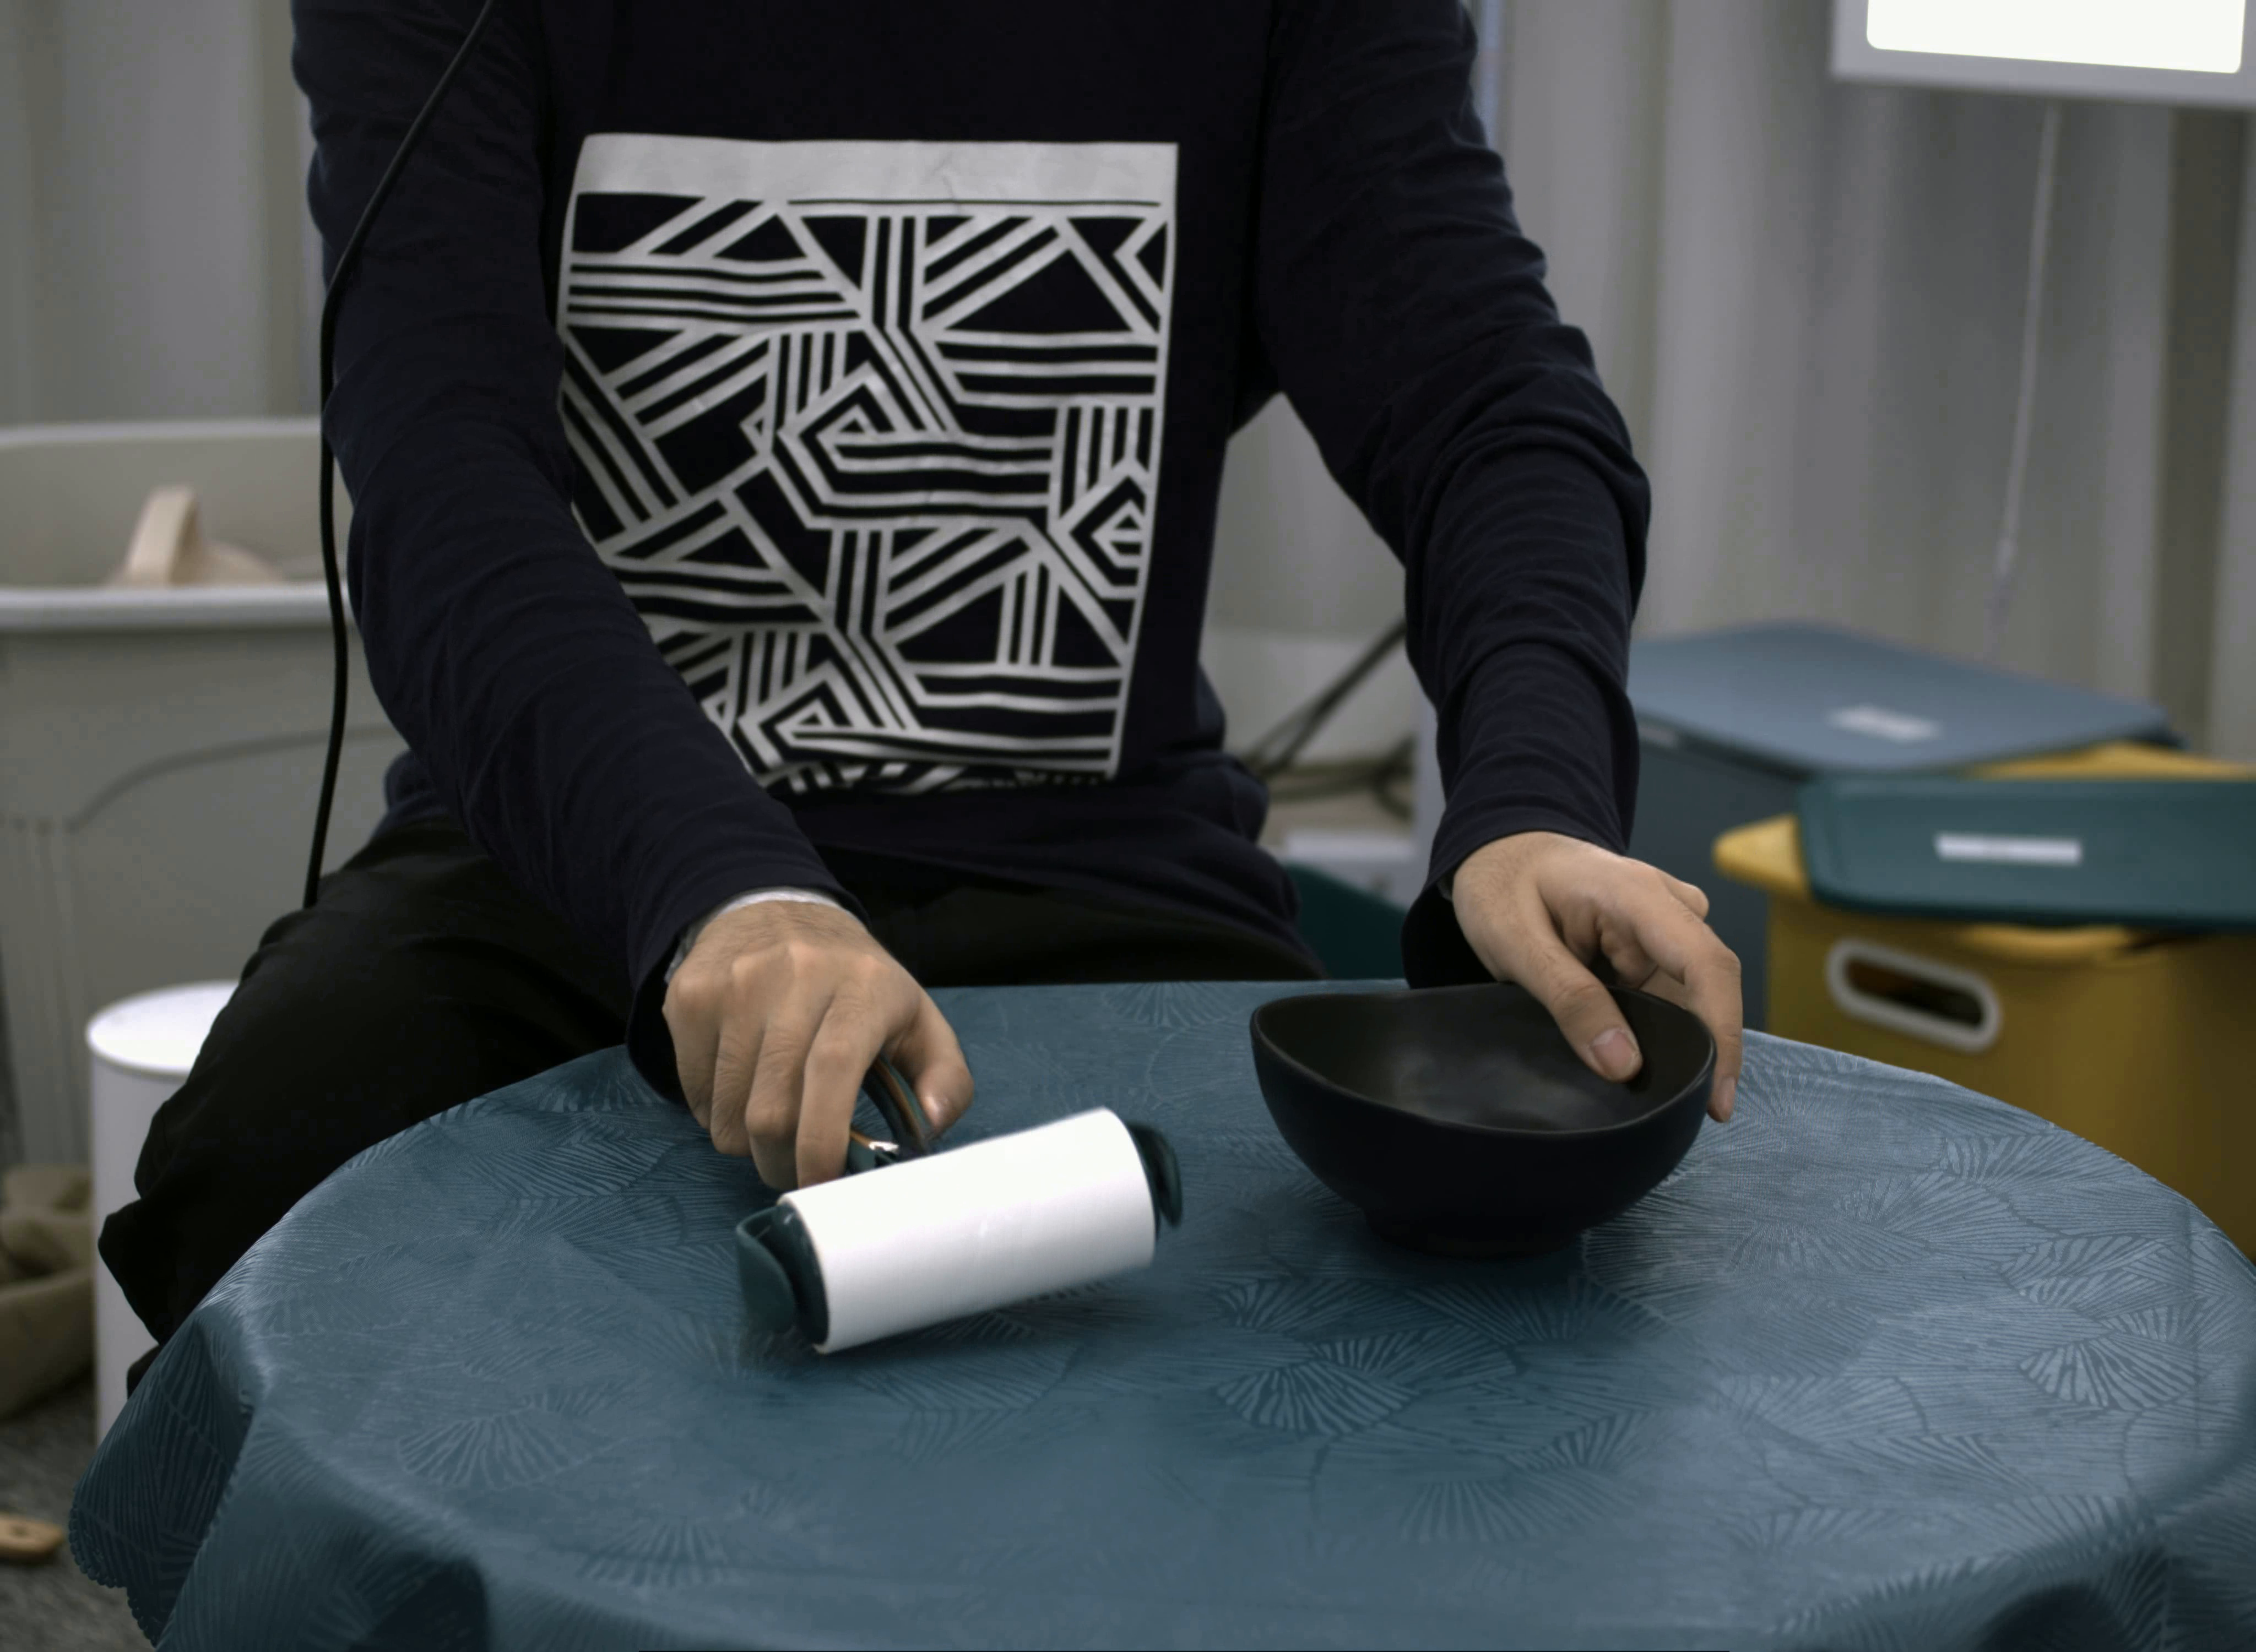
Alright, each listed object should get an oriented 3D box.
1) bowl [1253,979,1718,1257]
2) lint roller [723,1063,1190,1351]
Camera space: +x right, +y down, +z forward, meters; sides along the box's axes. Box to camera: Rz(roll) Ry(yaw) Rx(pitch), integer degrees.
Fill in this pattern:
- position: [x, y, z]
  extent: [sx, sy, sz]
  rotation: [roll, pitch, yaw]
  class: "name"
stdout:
- position: [0.105, 0.090, 1.589]
  extent: [0.137, 0.067, 0.168]
  rotation: [-4, 15, -15]
  class: "bowl"
- position: [-0.074, 0.089, 1.554]
  extent: [0.134, 0.049, 0.178]
  rotation: [-16, 27, -18]
  class: "lint roller"
